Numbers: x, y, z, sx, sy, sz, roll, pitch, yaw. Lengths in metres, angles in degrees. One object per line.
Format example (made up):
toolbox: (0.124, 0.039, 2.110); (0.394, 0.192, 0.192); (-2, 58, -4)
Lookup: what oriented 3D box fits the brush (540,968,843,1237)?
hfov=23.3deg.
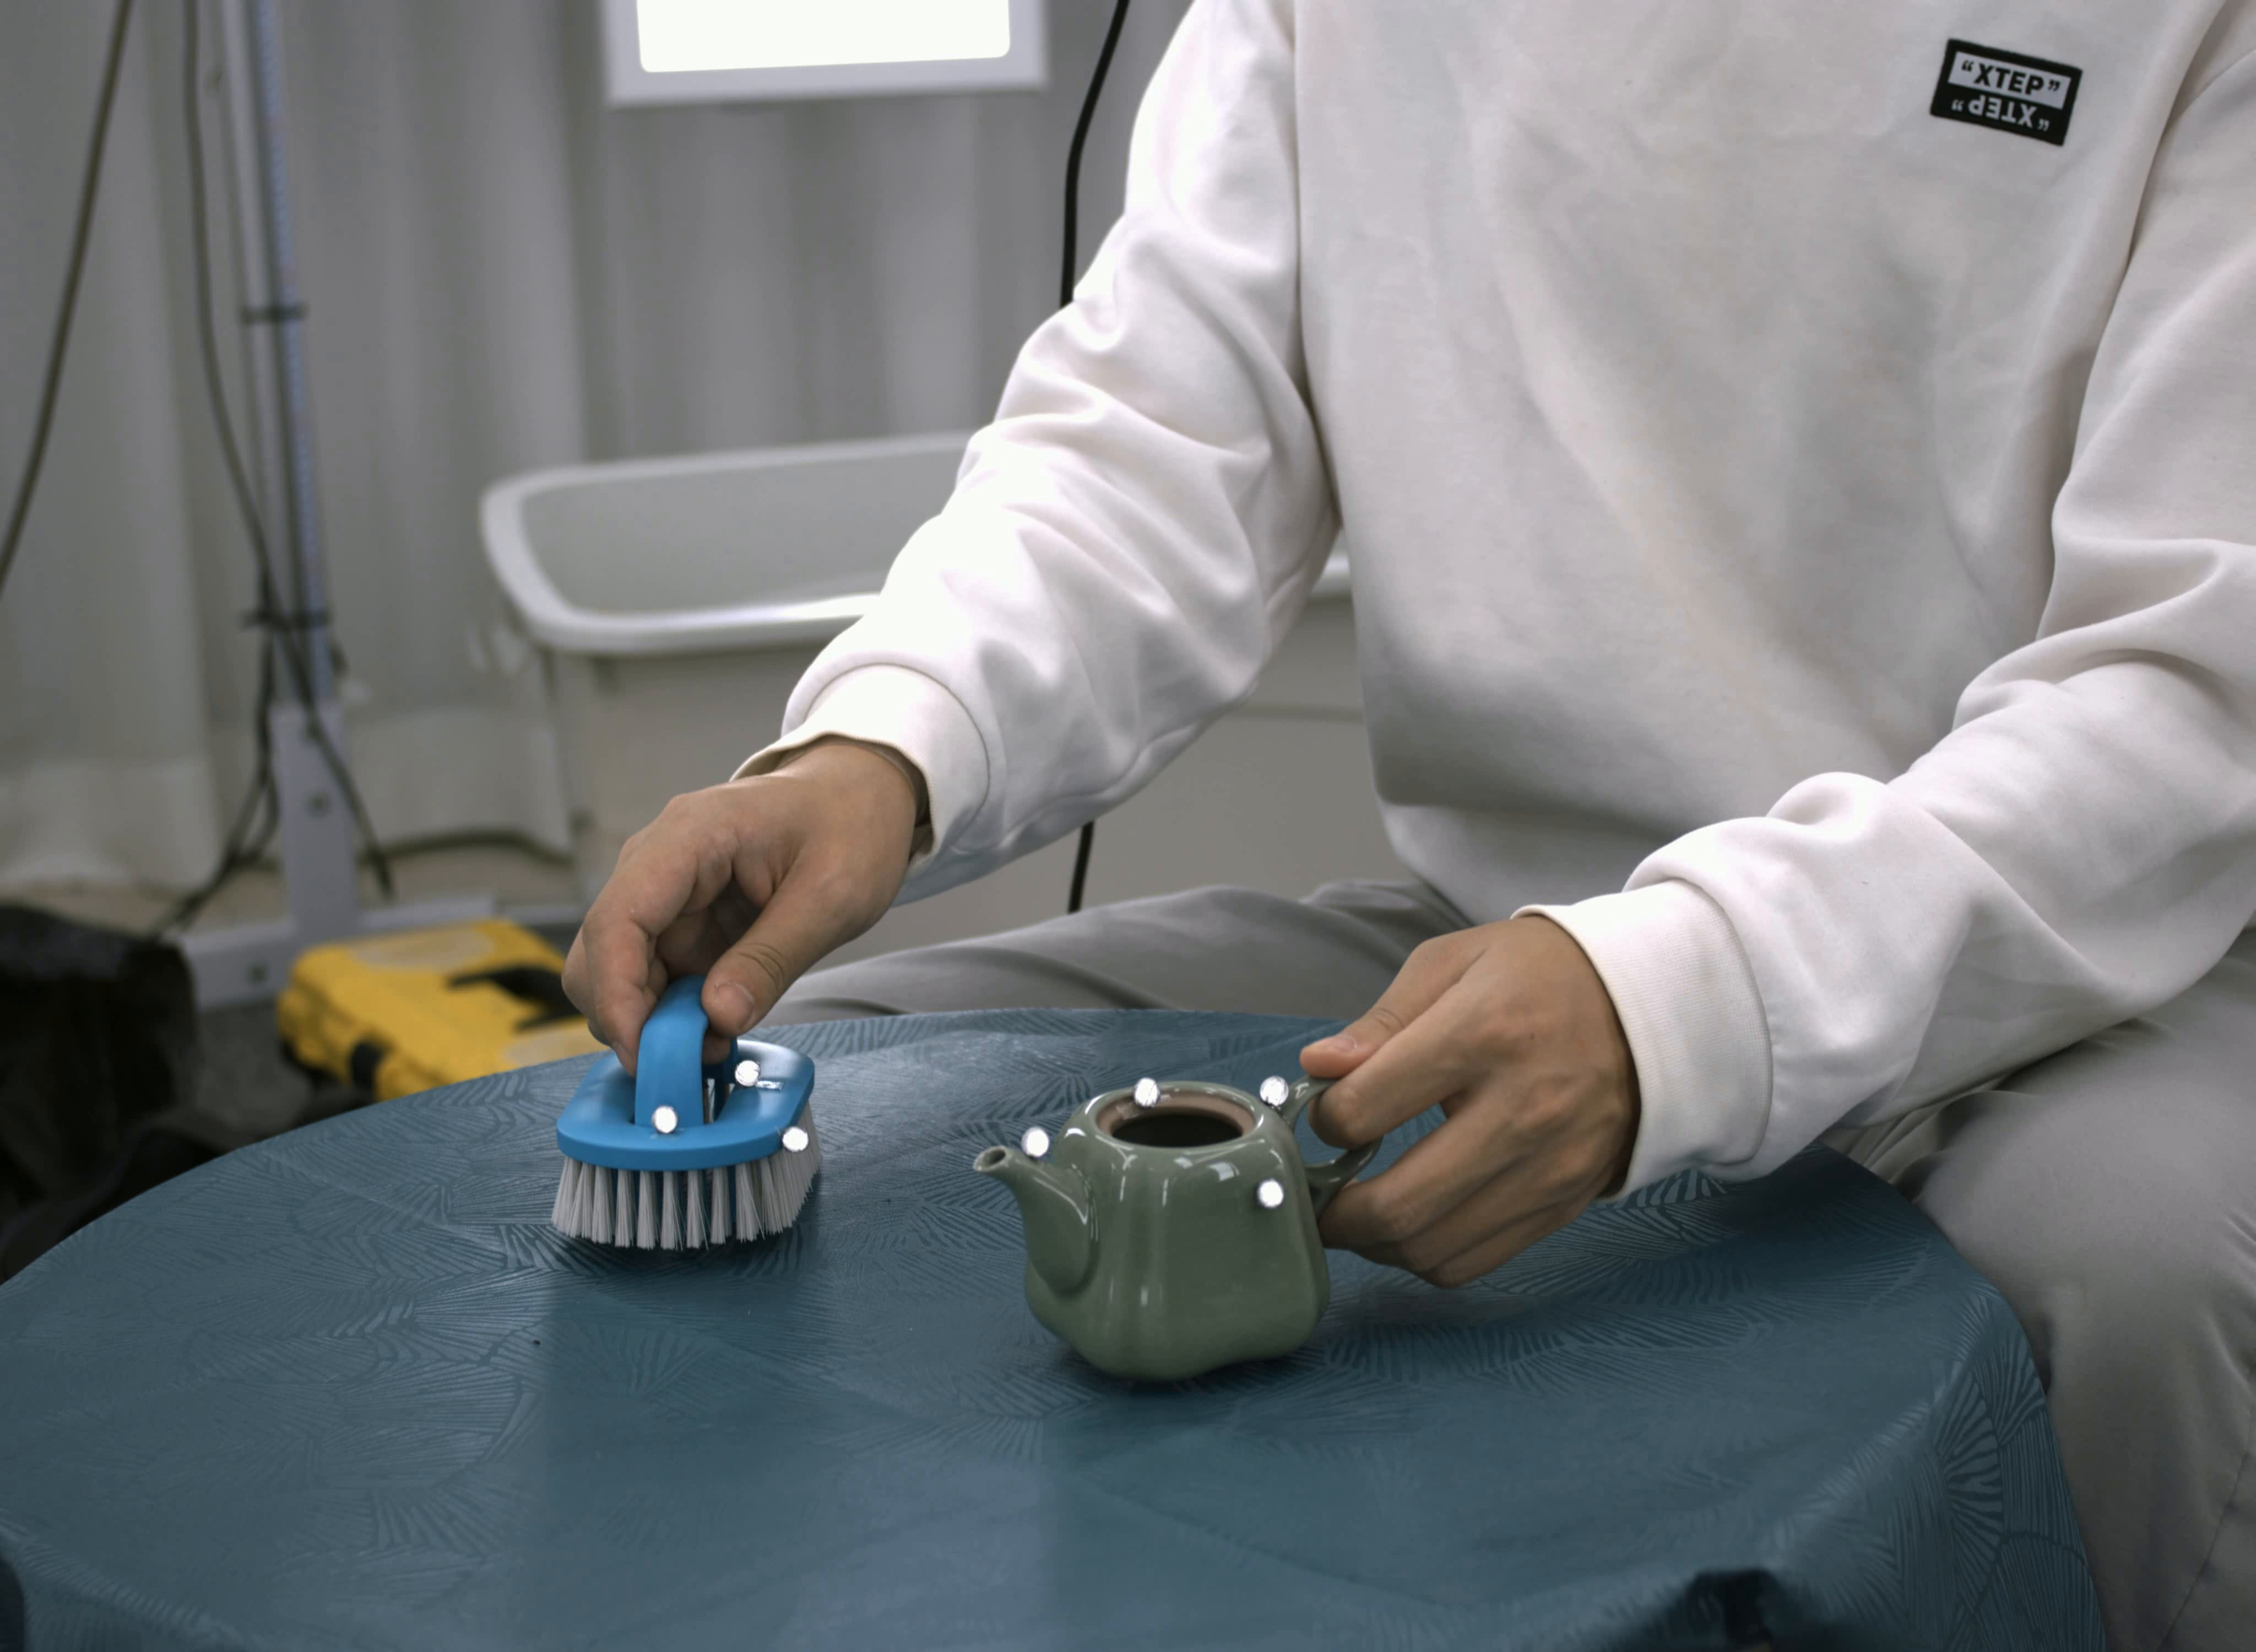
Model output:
brush: (-0.138, 0.082, 1.718); (0.084, 0.063, 0.142); (-4, 10, 6)

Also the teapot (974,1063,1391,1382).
teapot: (0.016, 0.113, 1.568); (0.132, 0.075, 0.080); (-10, 22, -26)
